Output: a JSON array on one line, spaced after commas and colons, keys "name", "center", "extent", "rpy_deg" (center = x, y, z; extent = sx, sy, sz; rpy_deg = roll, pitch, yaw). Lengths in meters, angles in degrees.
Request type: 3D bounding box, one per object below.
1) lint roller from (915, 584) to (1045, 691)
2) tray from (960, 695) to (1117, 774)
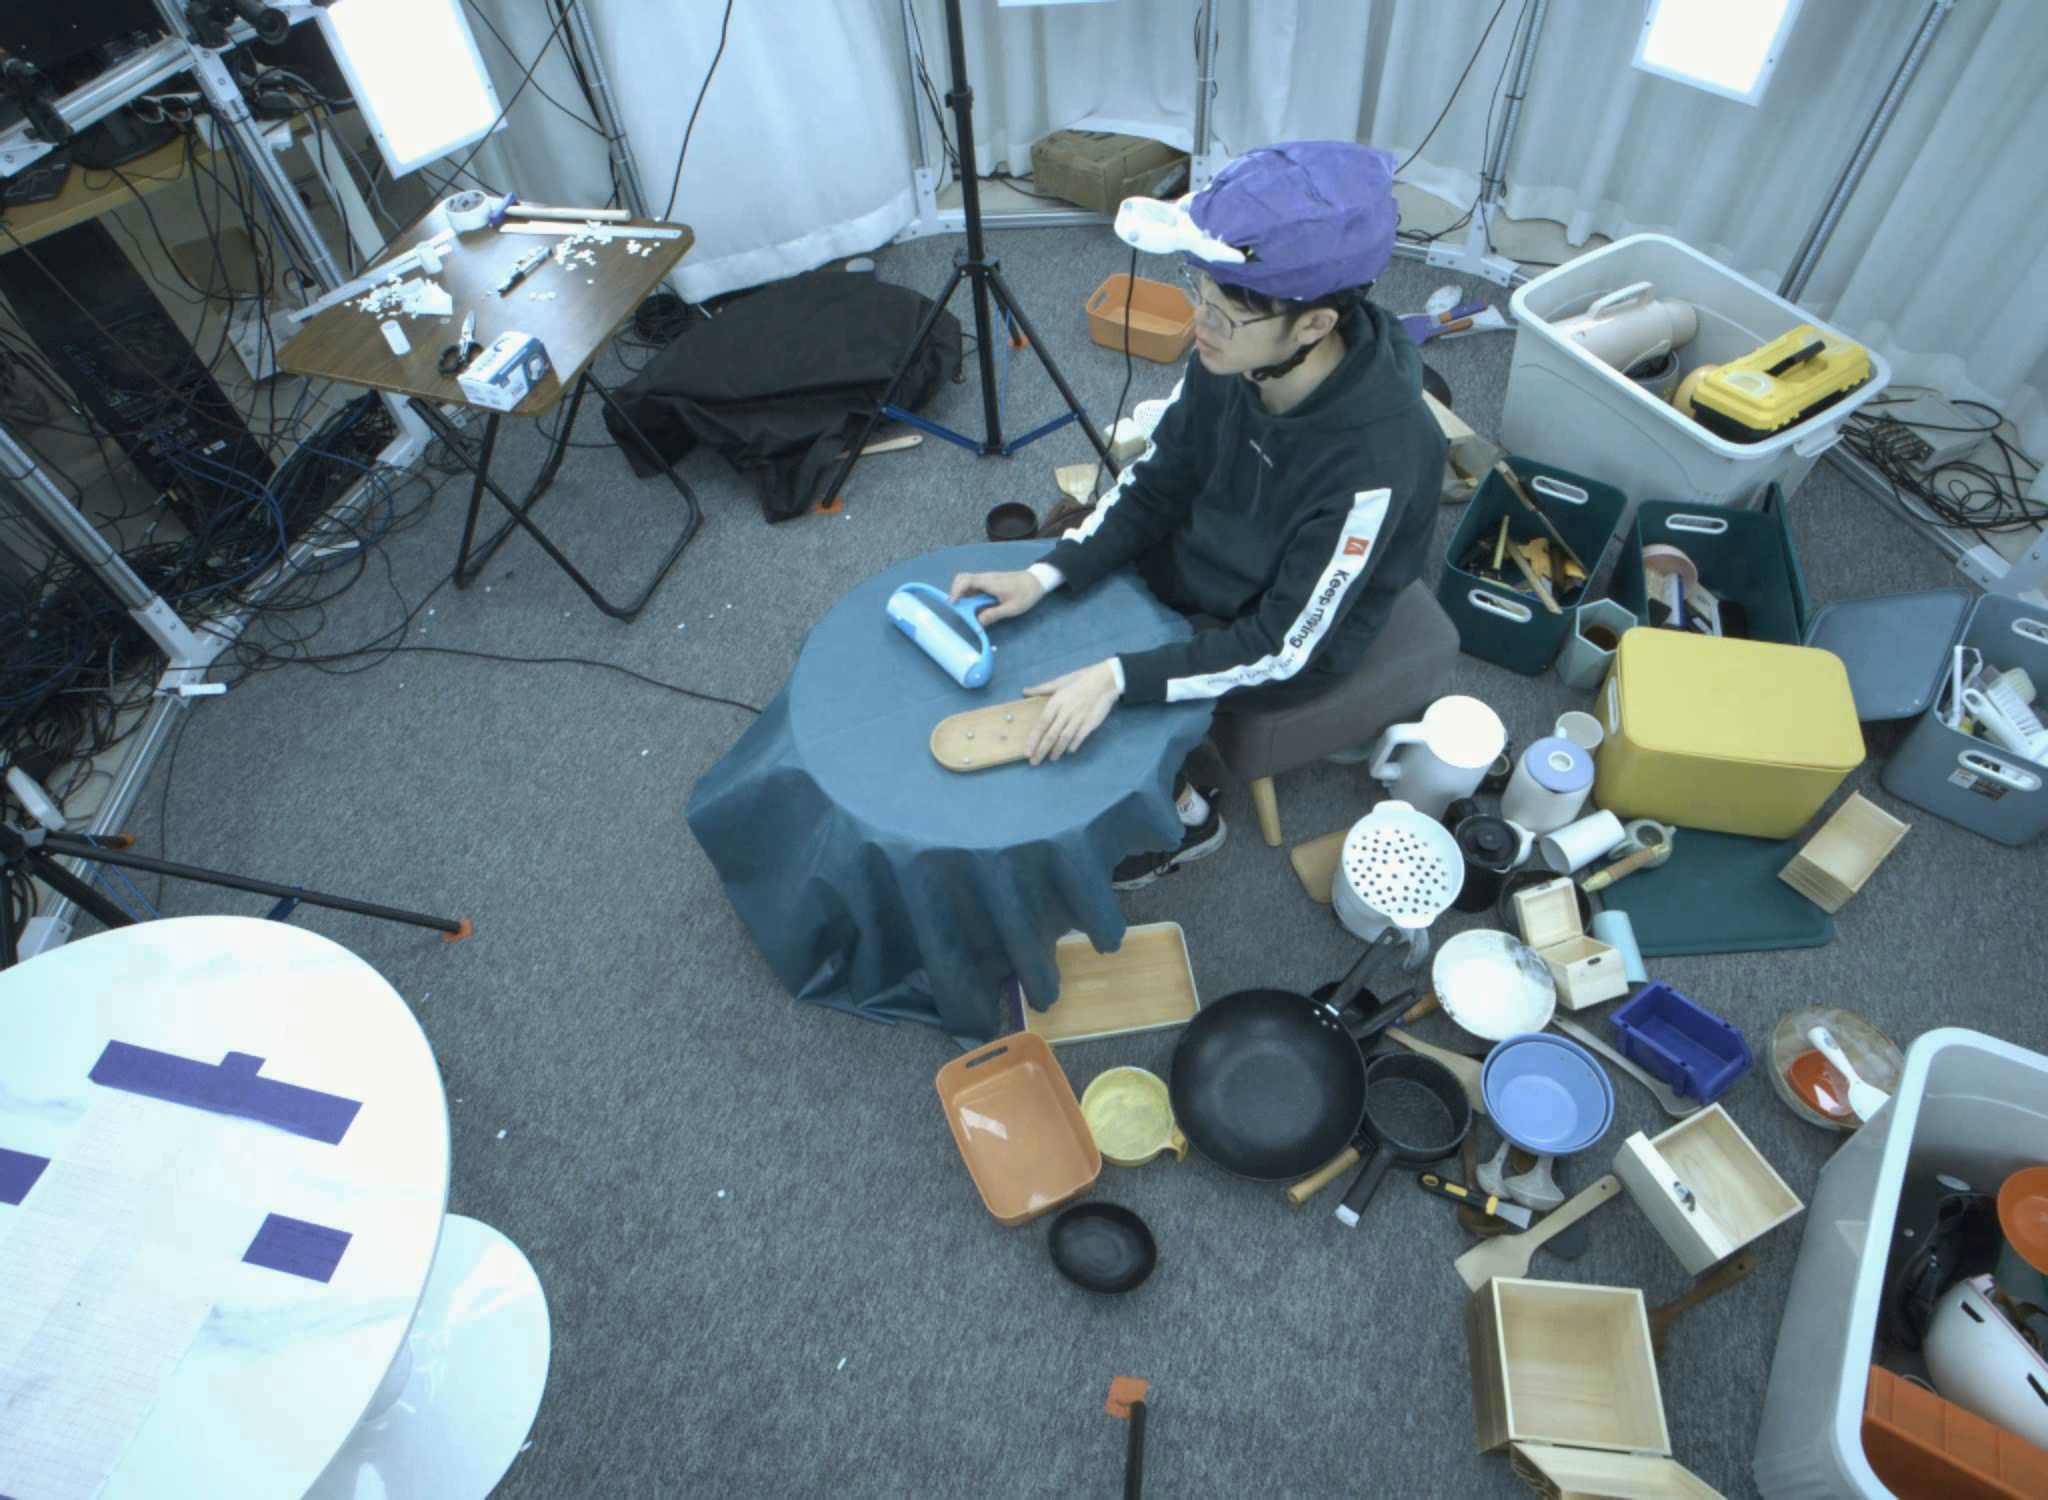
[{"name": "lint roller", "center": [-0.044, -0.201, 1.892], "extent": [0.181, 0.069, 0.224], "rpy_deg": [-37, 60, -21]}, {"name": "tray", "center": [0.021, -0.022, 1.788], "extent": [0.232, 0.020, 0.100], "rpy_deg": [-11, 56, -8]}]
